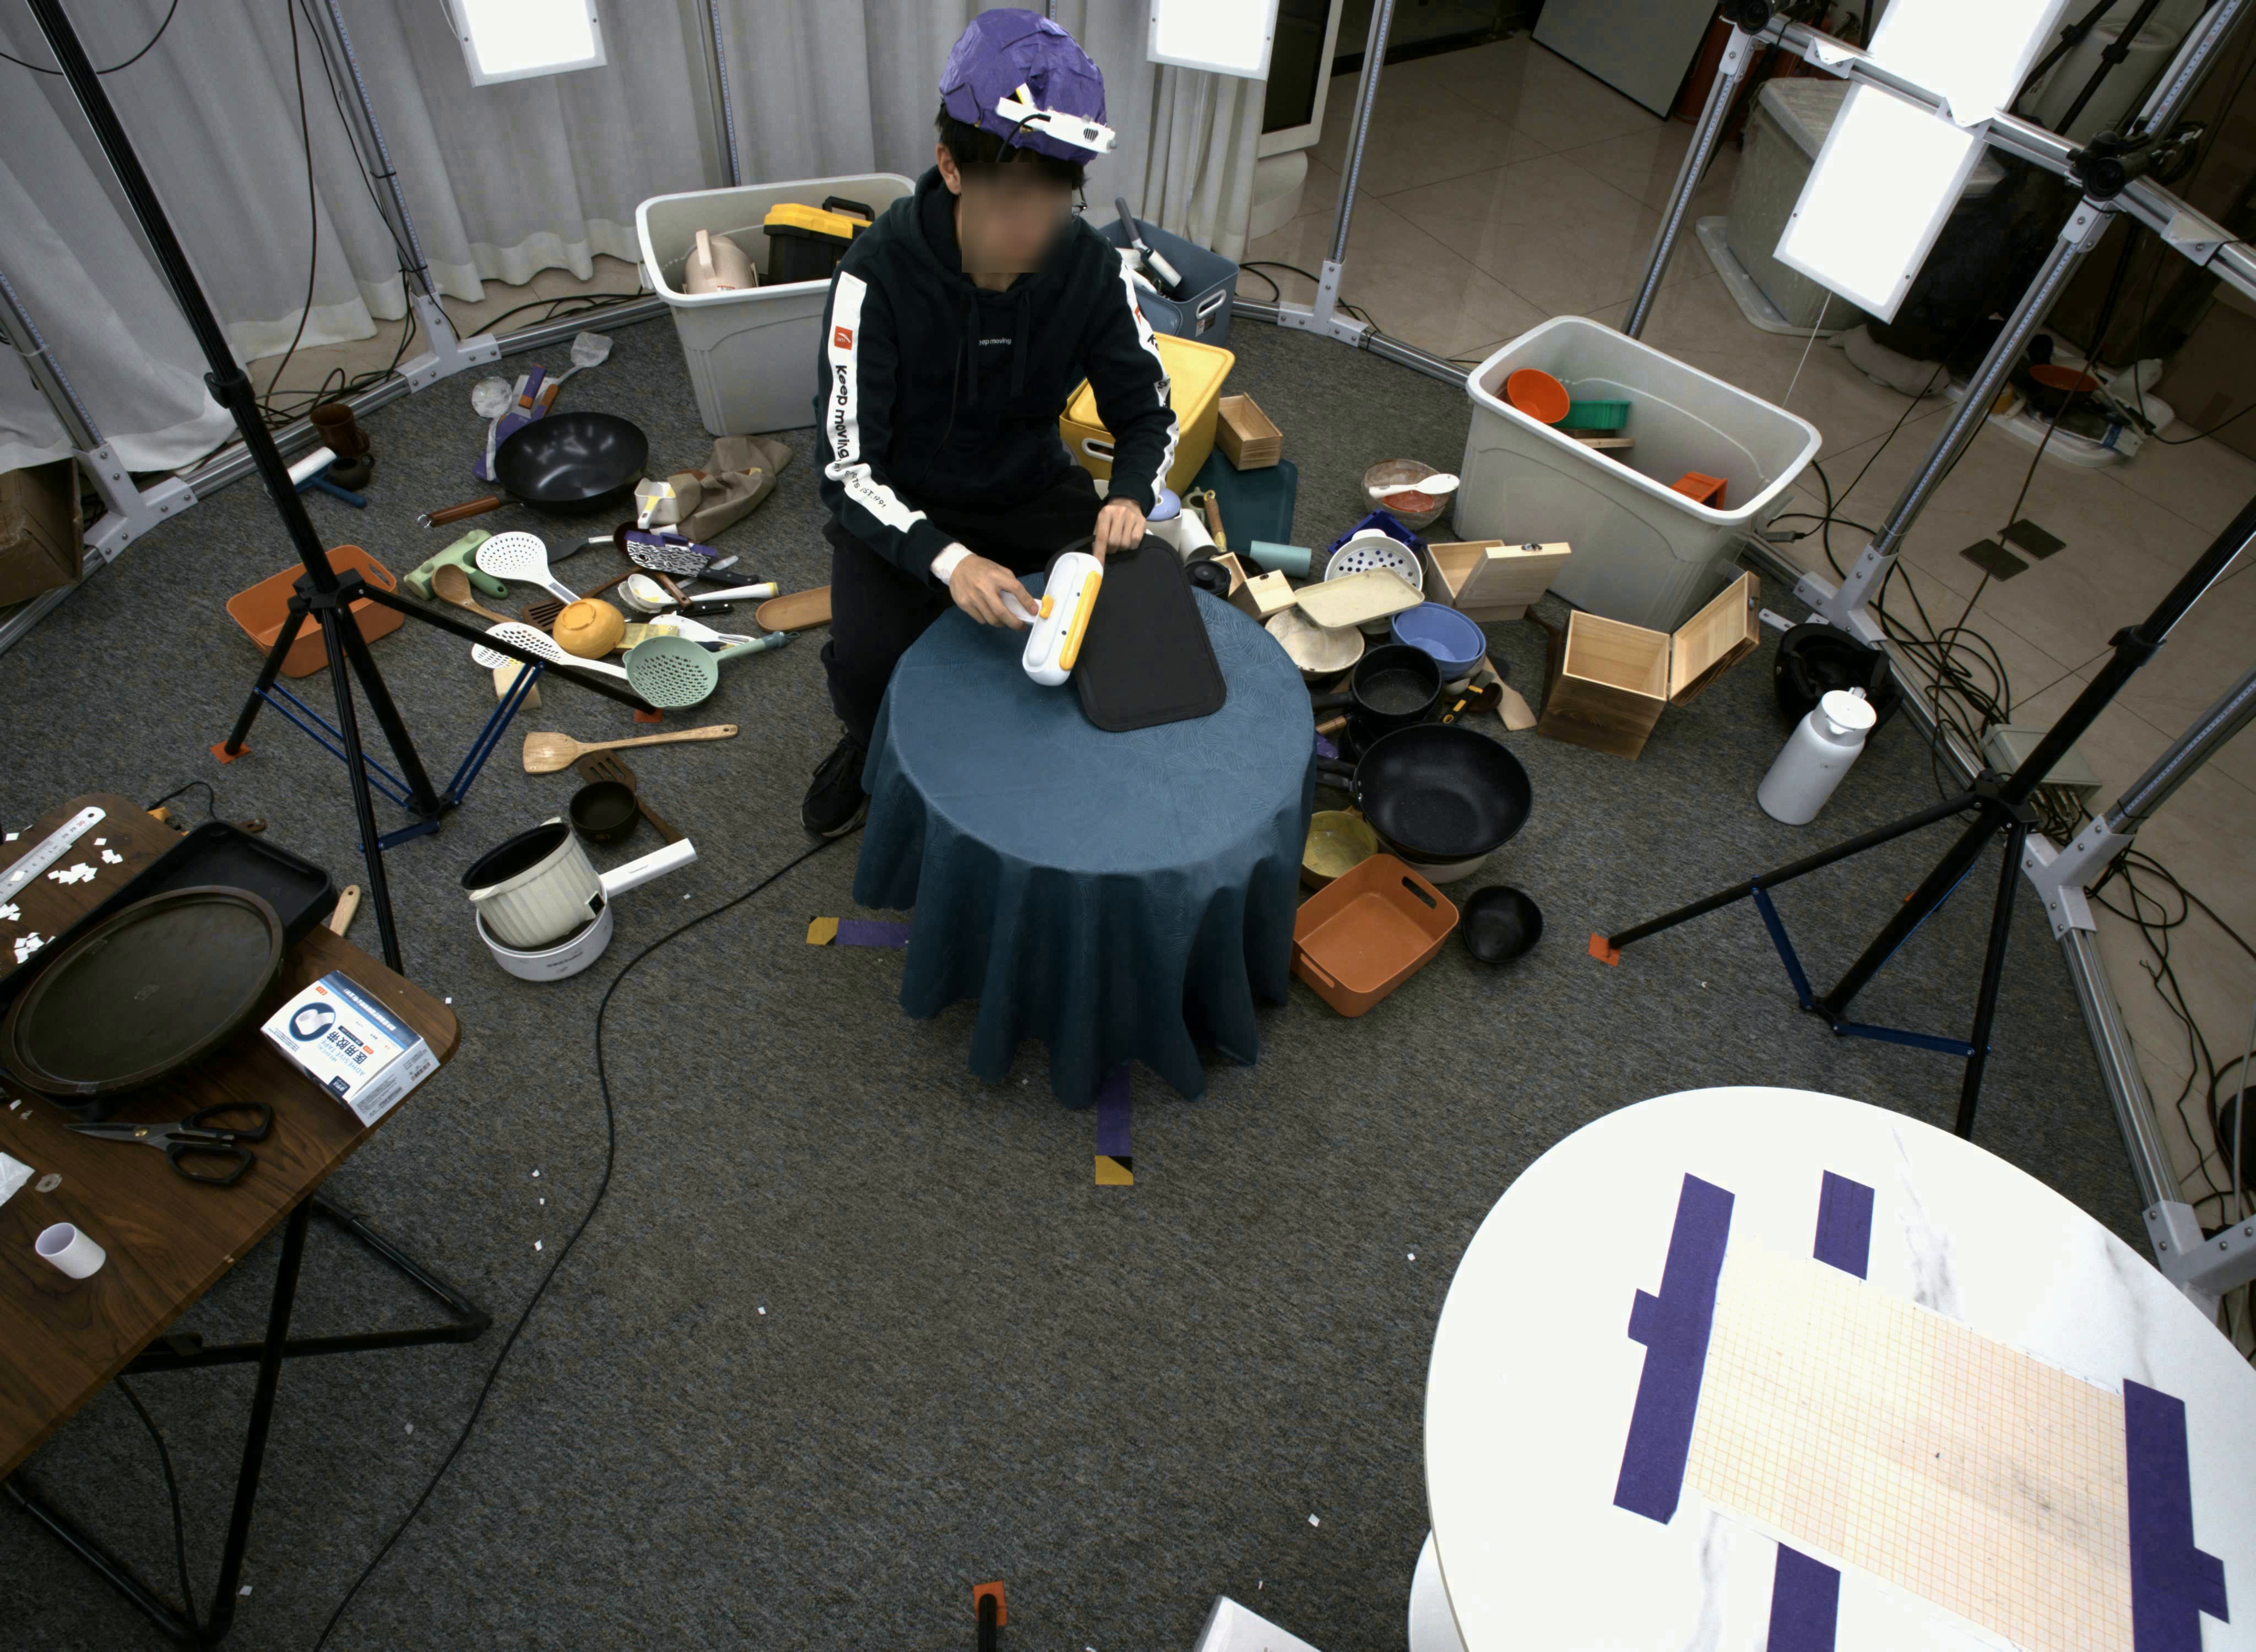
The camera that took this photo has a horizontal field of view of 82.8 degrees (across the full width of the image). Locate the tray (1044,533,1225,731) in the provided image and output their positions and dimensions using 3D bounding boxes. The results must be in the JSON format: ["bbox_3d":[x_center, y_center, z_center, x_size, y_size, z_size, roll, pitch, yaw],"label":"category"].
[{"bbox_3d":[0.005,-0.290,1.858,0.211,0.009,0.331,-12,66,-13],"label":"tray"}]

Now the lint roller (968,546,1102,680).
[{"bbox_3d":[-0.140,-0.308,1.825,0.194,0.073,0.194,9,84,36],"label":"lint roller"}]
